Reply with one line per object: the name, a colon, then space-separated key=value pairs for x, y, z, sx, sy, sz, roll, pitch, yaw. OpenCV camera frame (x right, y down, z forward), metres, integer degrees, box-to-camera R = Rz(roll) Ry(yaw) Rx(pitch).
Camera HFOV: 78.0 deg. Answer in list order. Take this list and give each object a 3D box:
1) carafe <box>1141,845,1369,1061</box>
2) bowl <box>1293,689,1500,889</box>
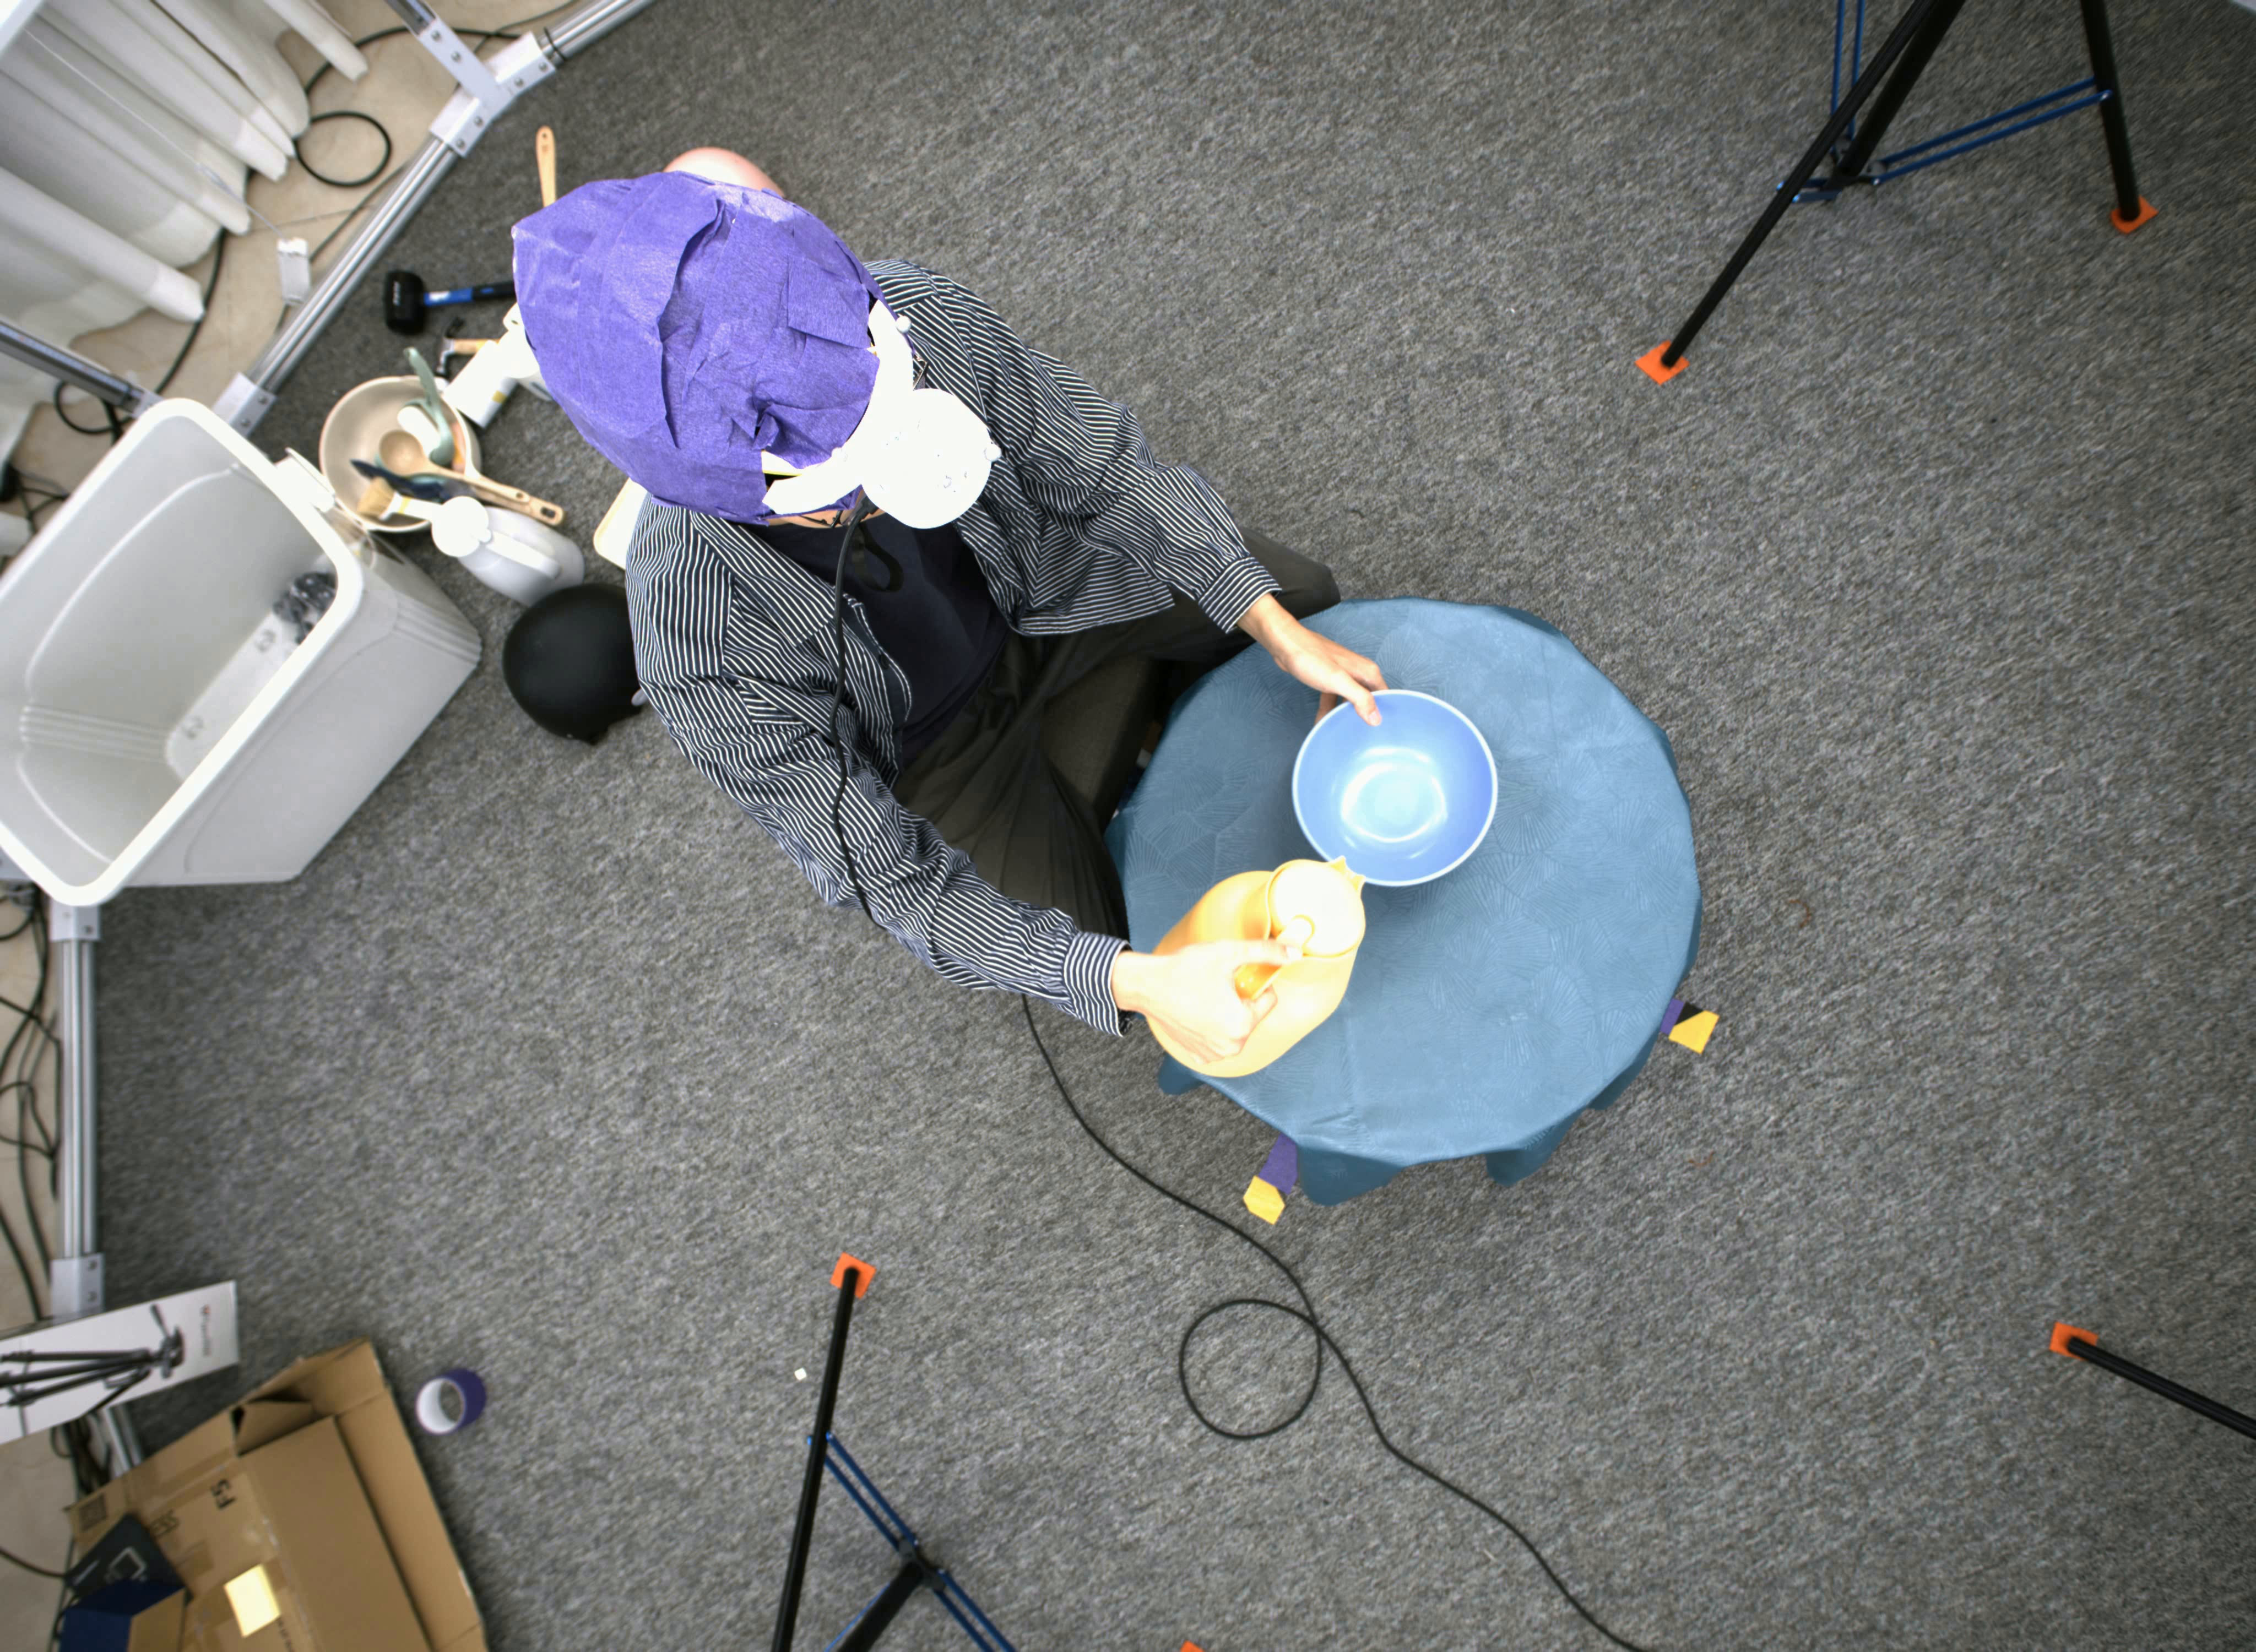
carafe: x=0.112 y=0.123 z=1.285 sx=0.163 sy=0.266 sz=0.198 roll=44 pitch=57 yaw=3
bowl: x=0.263 y=-0.029 z=1.363 sx=0.197 sy=0.096 sz=0.194 roll=-2 pitch=81 yaw=10
